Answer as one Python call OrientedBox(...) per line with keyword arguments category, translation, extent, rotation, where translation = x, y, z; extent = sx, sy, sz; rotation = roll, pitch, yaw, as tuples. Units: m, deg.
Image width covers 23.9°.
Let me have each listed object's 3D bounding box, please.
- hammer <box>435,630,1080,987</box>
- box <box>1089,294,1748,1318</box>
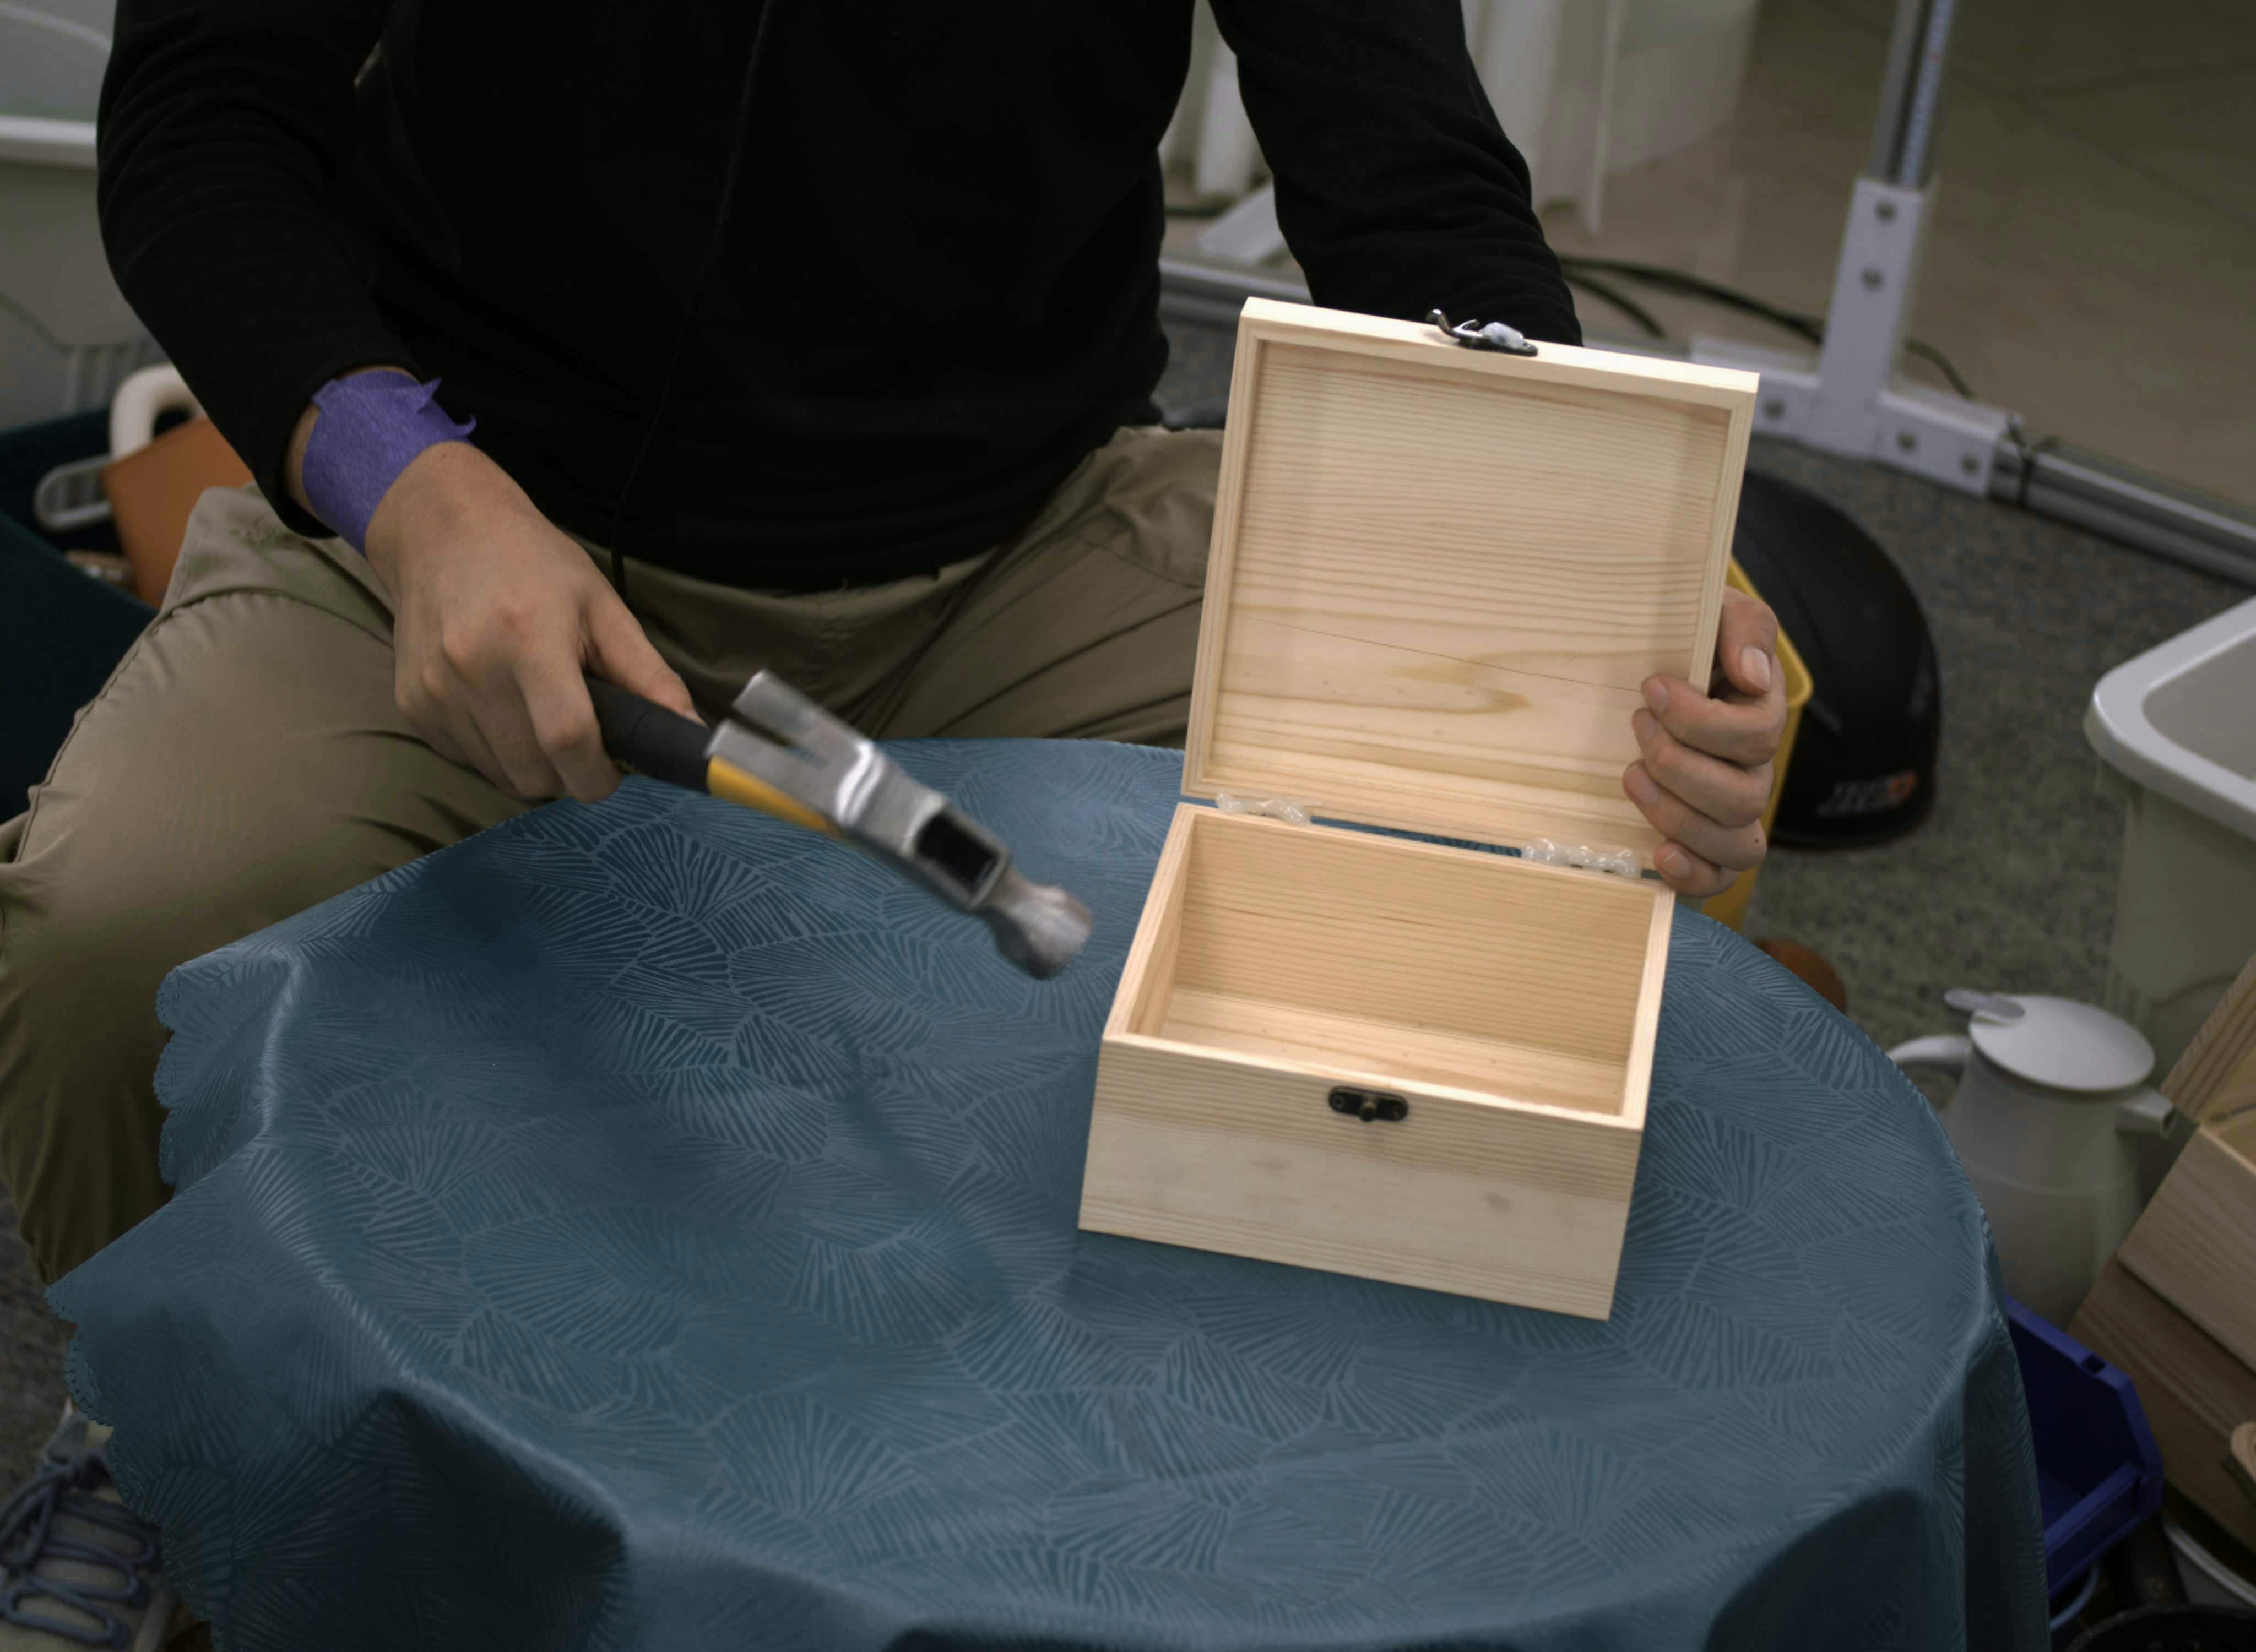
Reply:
OrientedBox(category="hammer", translation=(-0.151, -0.024, 1.838), extent=(0.130, 0.032, 0.341), rotation=(38, -10, -34))
OrientedBox(category="box", translation=(0.102, -0.014, 1.824), extent=(0.181, 0.252, 0.266), rotation=(7, 27, 6))
